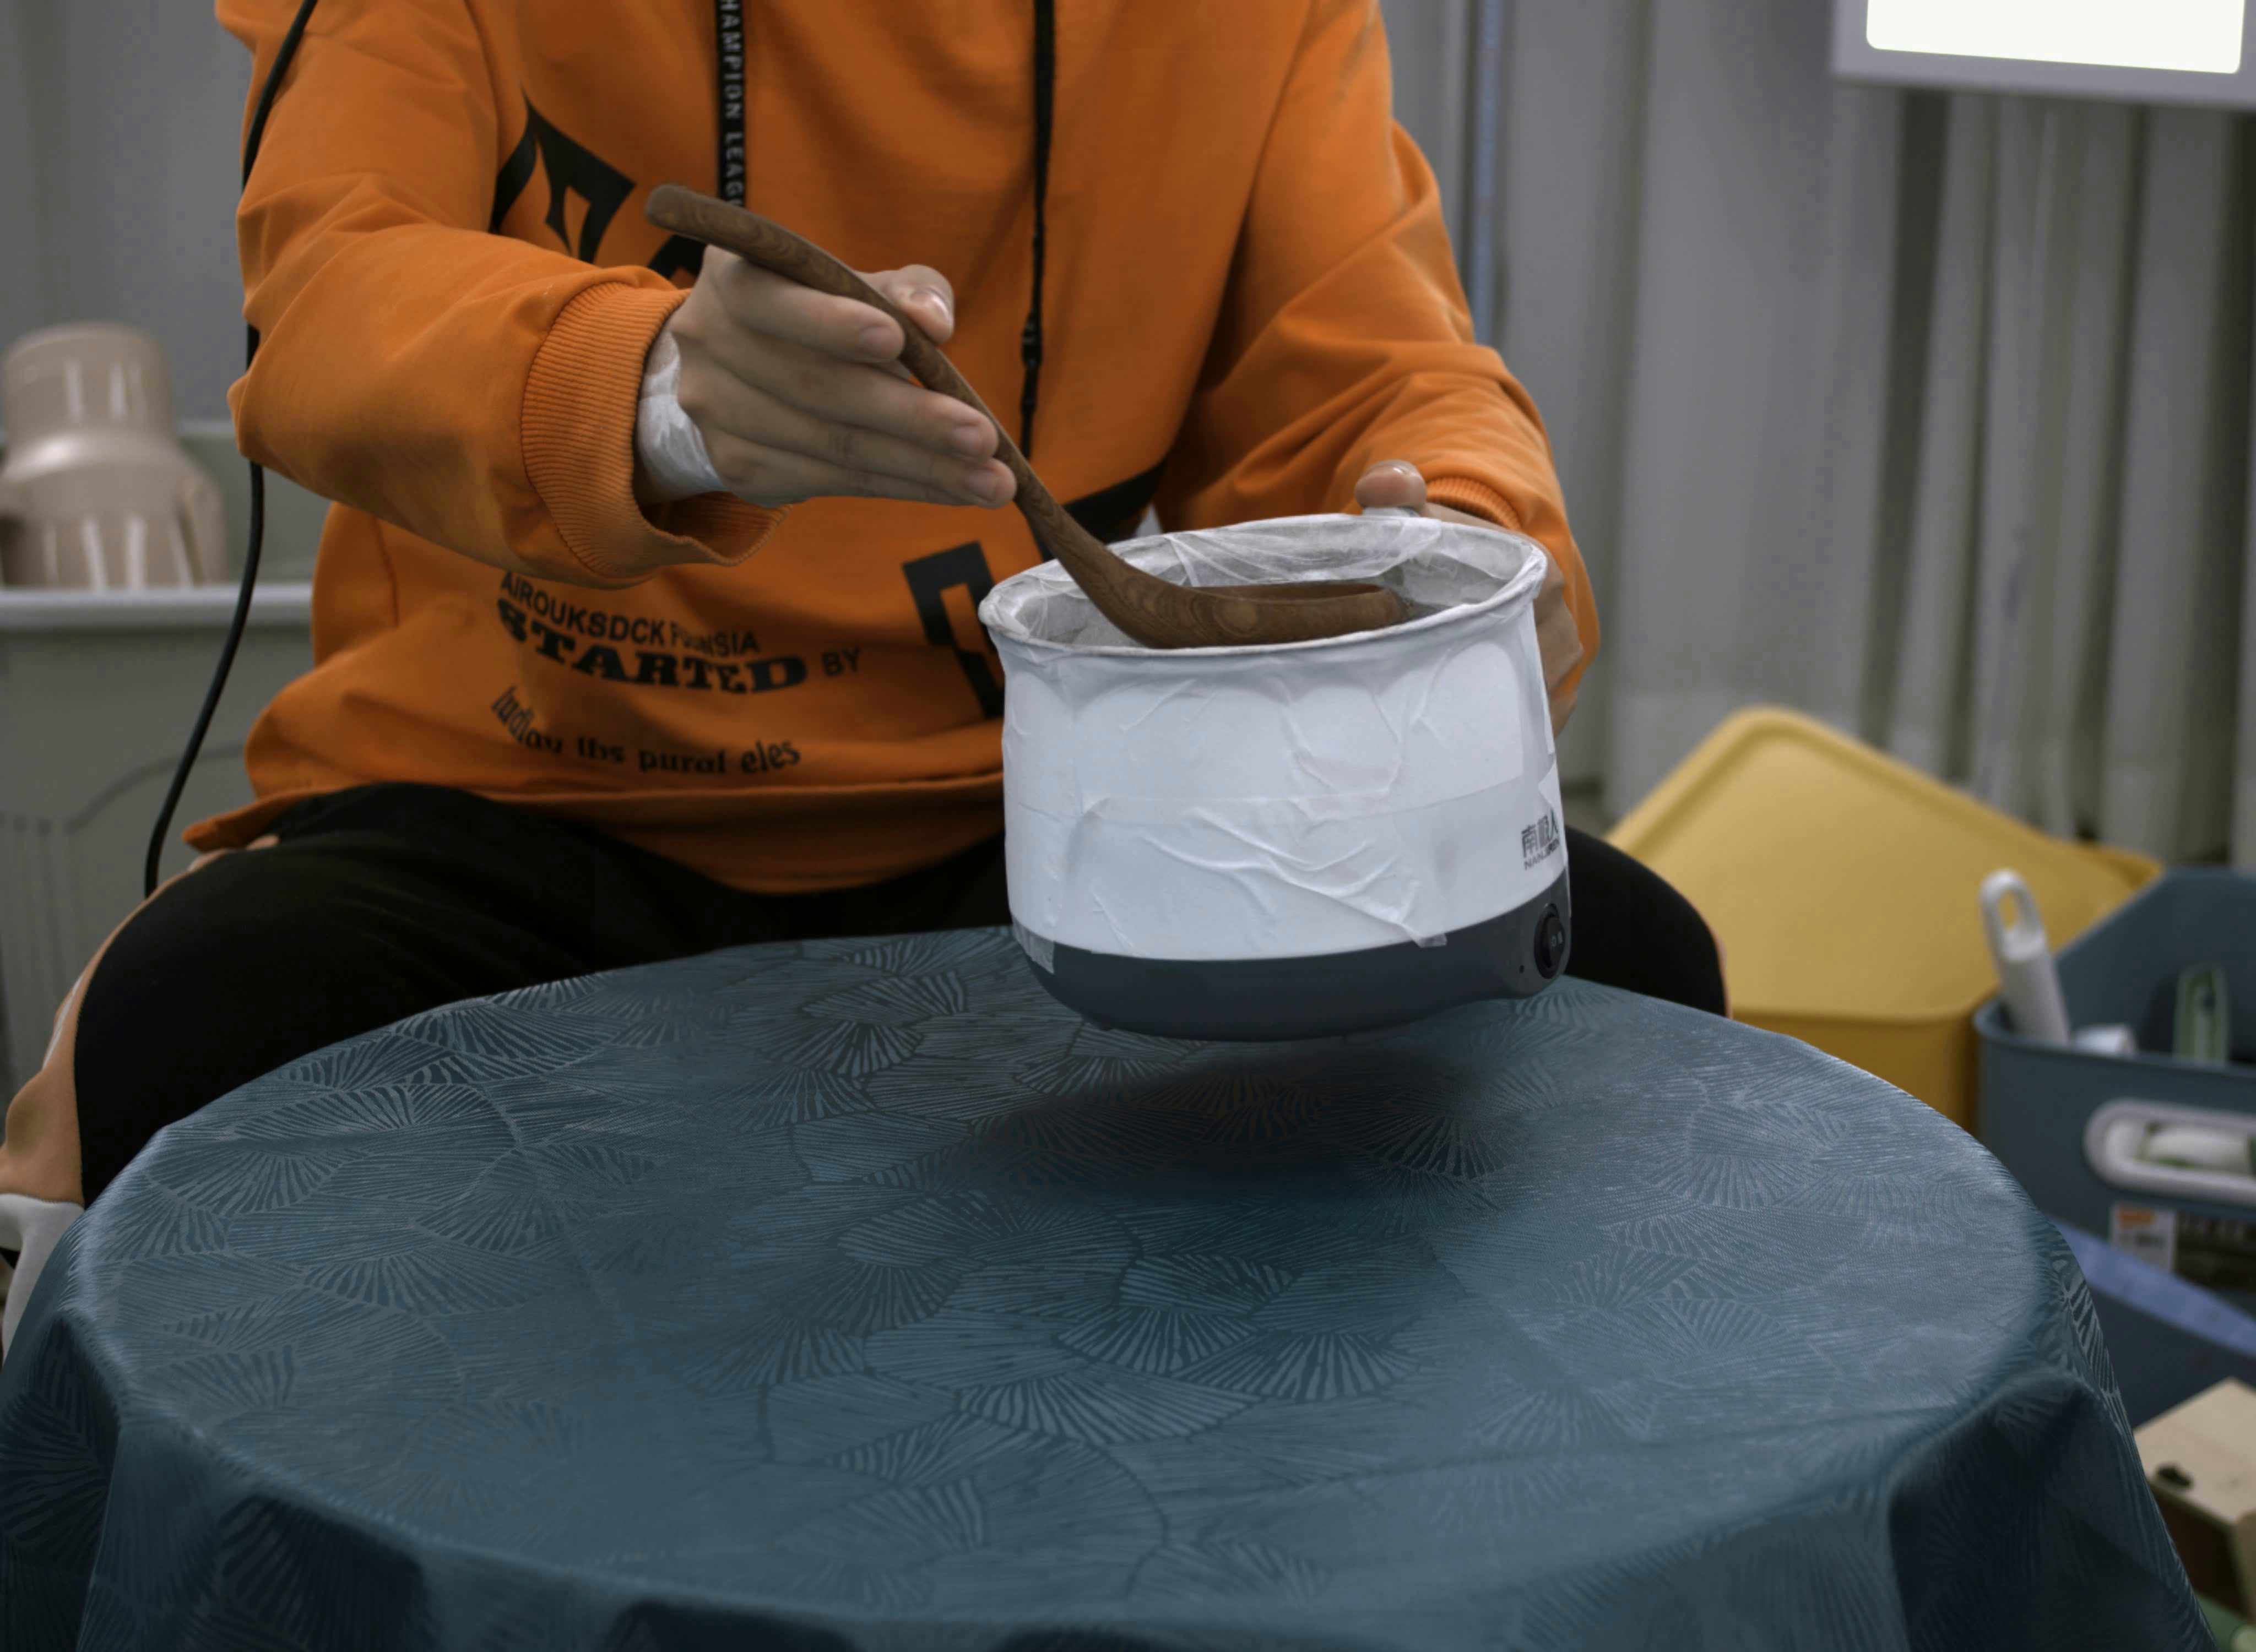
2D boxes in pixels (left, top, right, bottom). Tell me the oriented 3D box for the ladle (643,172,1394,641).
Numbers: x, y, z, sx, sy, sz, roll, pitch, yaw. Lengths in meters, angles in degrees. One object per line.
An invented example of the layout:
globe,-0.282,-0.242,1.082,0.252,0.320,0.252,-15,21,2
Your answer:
ladle,-0.029,-0.126,1.571,0.262,0.065,0.076,41,-11,-16

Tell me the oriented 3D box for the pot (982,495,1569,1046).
pot,0.058,-0.023,1.673,0.177,0.138,0.234,2,17,24
